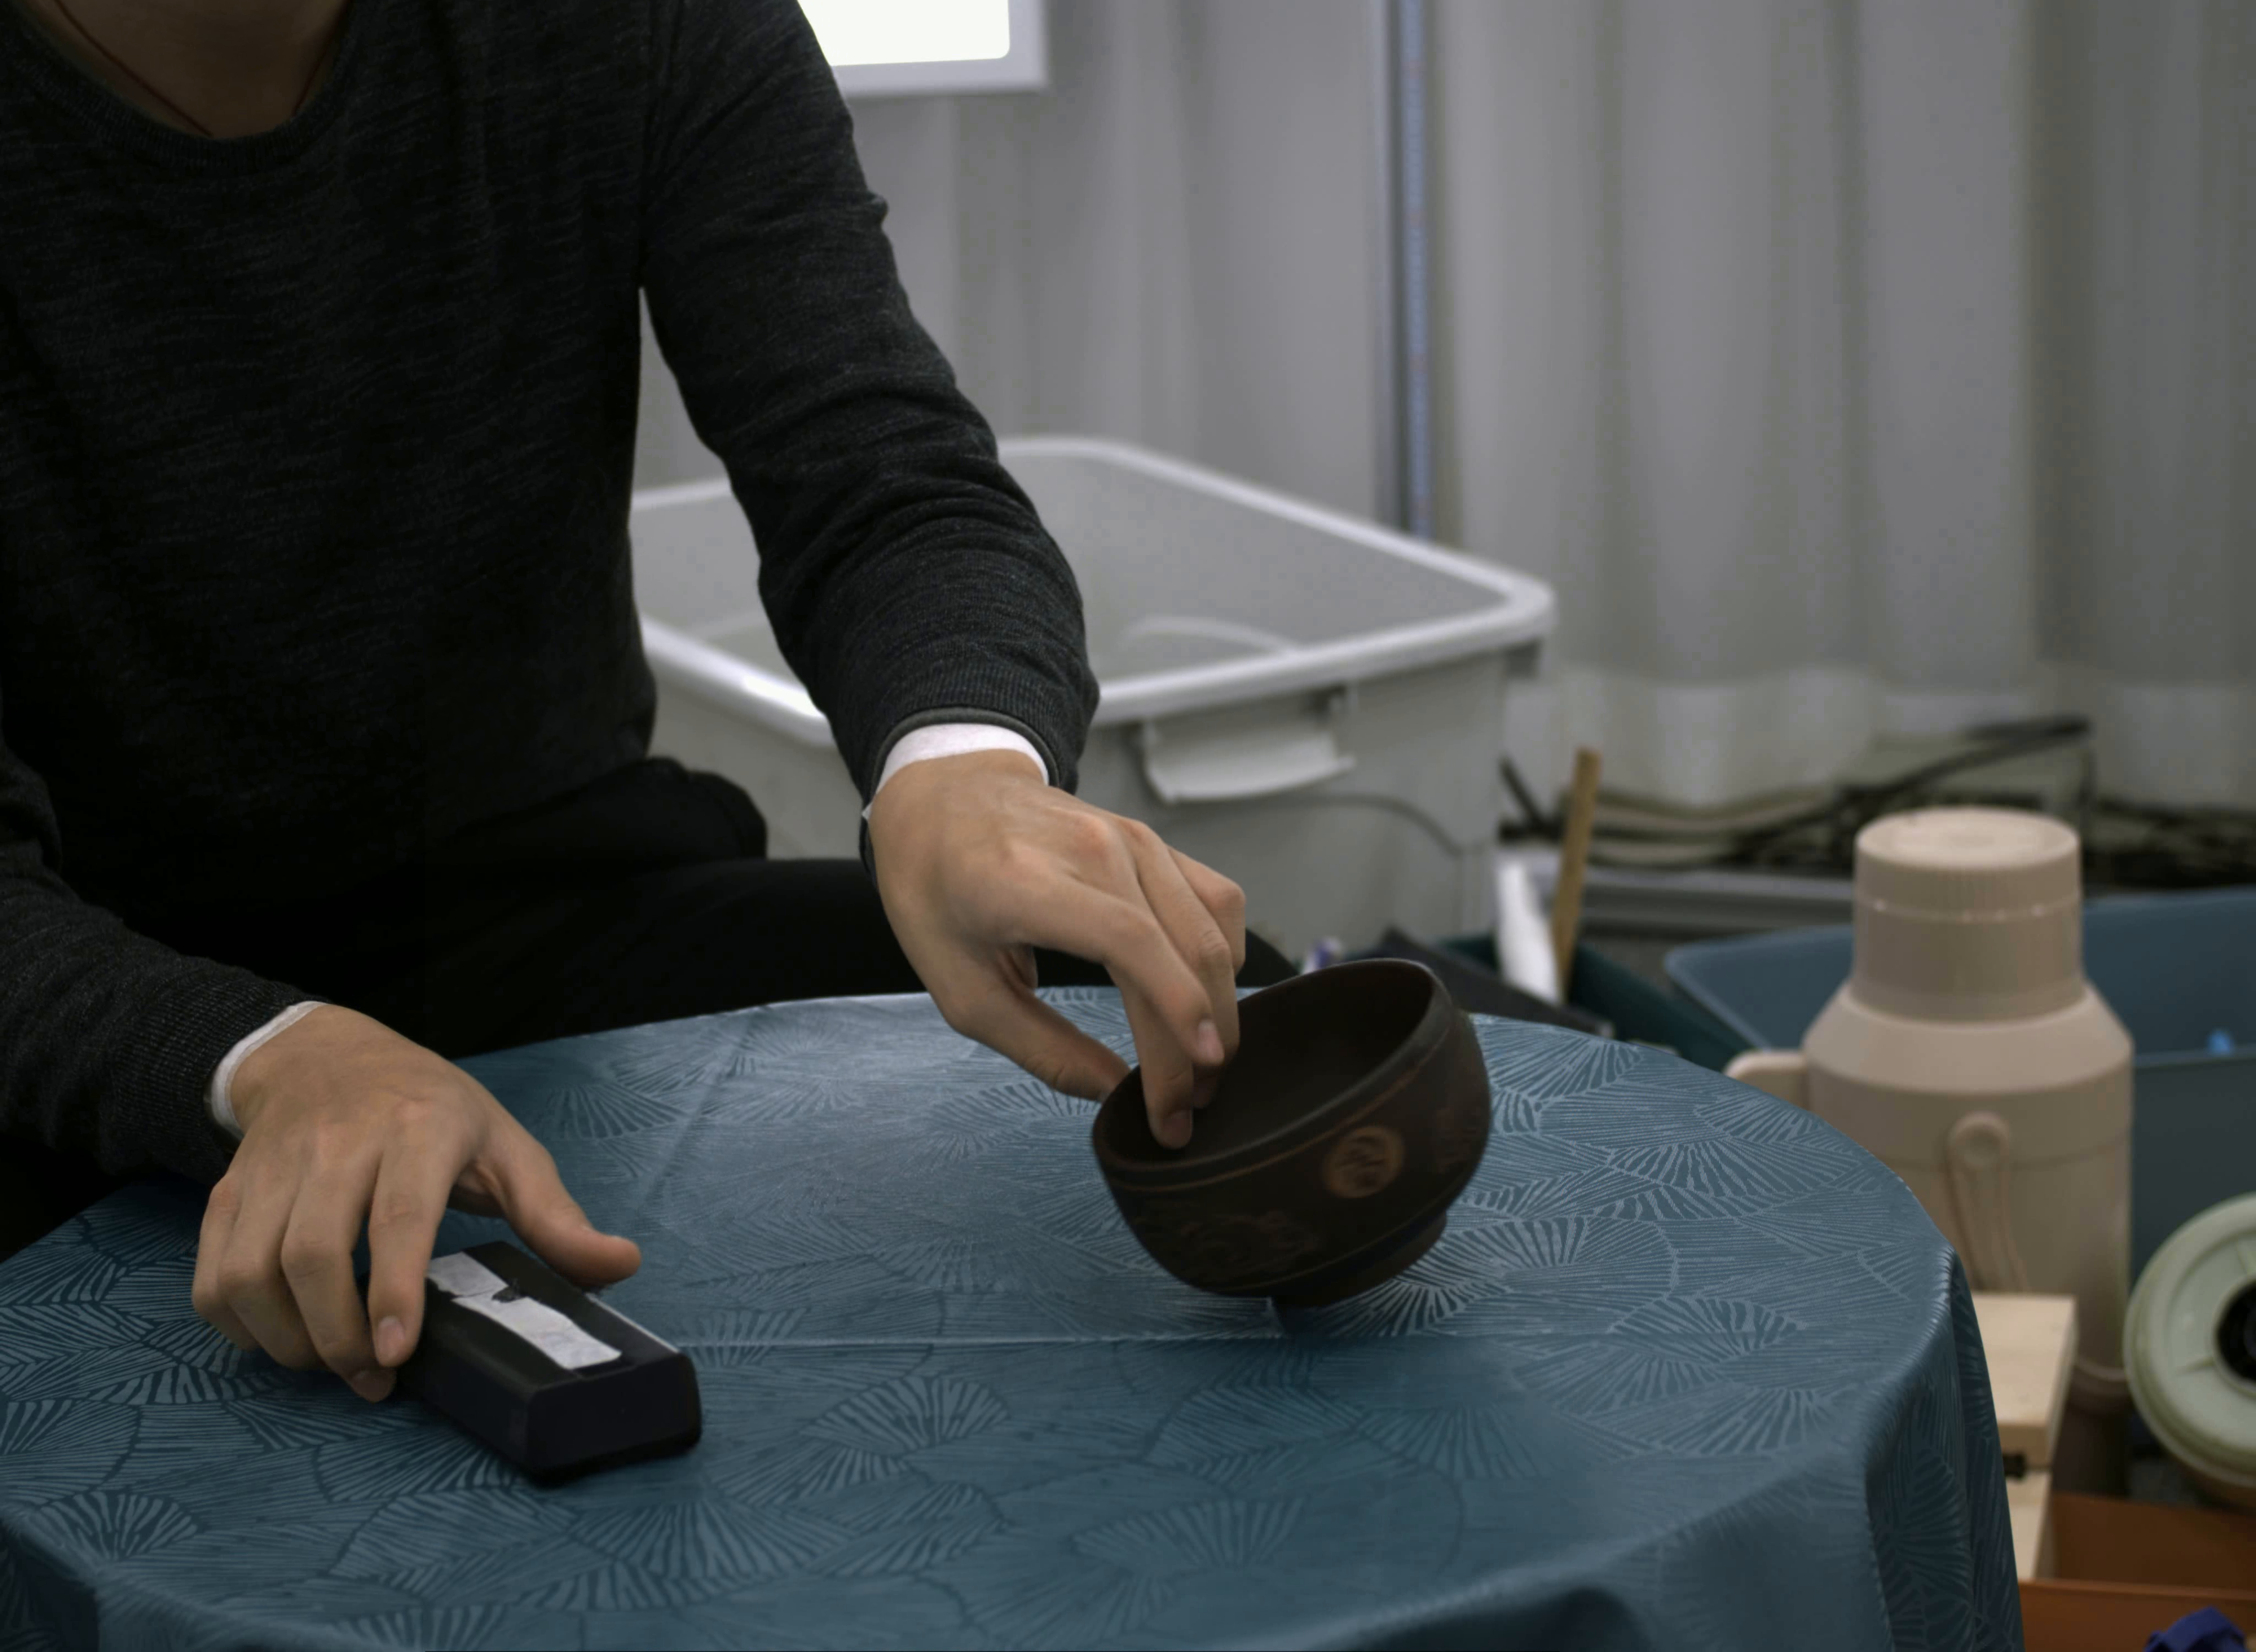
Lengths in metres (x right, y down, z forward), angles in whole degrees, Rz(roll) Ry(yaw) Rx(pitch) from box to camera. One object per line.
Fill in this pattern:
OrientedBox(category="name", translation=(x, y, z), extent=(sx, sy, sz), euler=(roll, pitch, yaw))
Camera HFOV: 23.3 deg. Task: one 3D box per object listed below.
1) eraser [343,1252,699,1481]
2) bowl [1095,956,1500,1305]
OrientedBox(category="eraser", translation=(-0.172, 0.152, 1.551), extent=(0.053, 0.030, 0.126), euler=(-8, 15, -31))
OrientedBox(category="bowl", translation=(0.056, 0.097, 1.606), extent=(0.118, 0.069, 0.119), euler=(-23, 17, 7))
